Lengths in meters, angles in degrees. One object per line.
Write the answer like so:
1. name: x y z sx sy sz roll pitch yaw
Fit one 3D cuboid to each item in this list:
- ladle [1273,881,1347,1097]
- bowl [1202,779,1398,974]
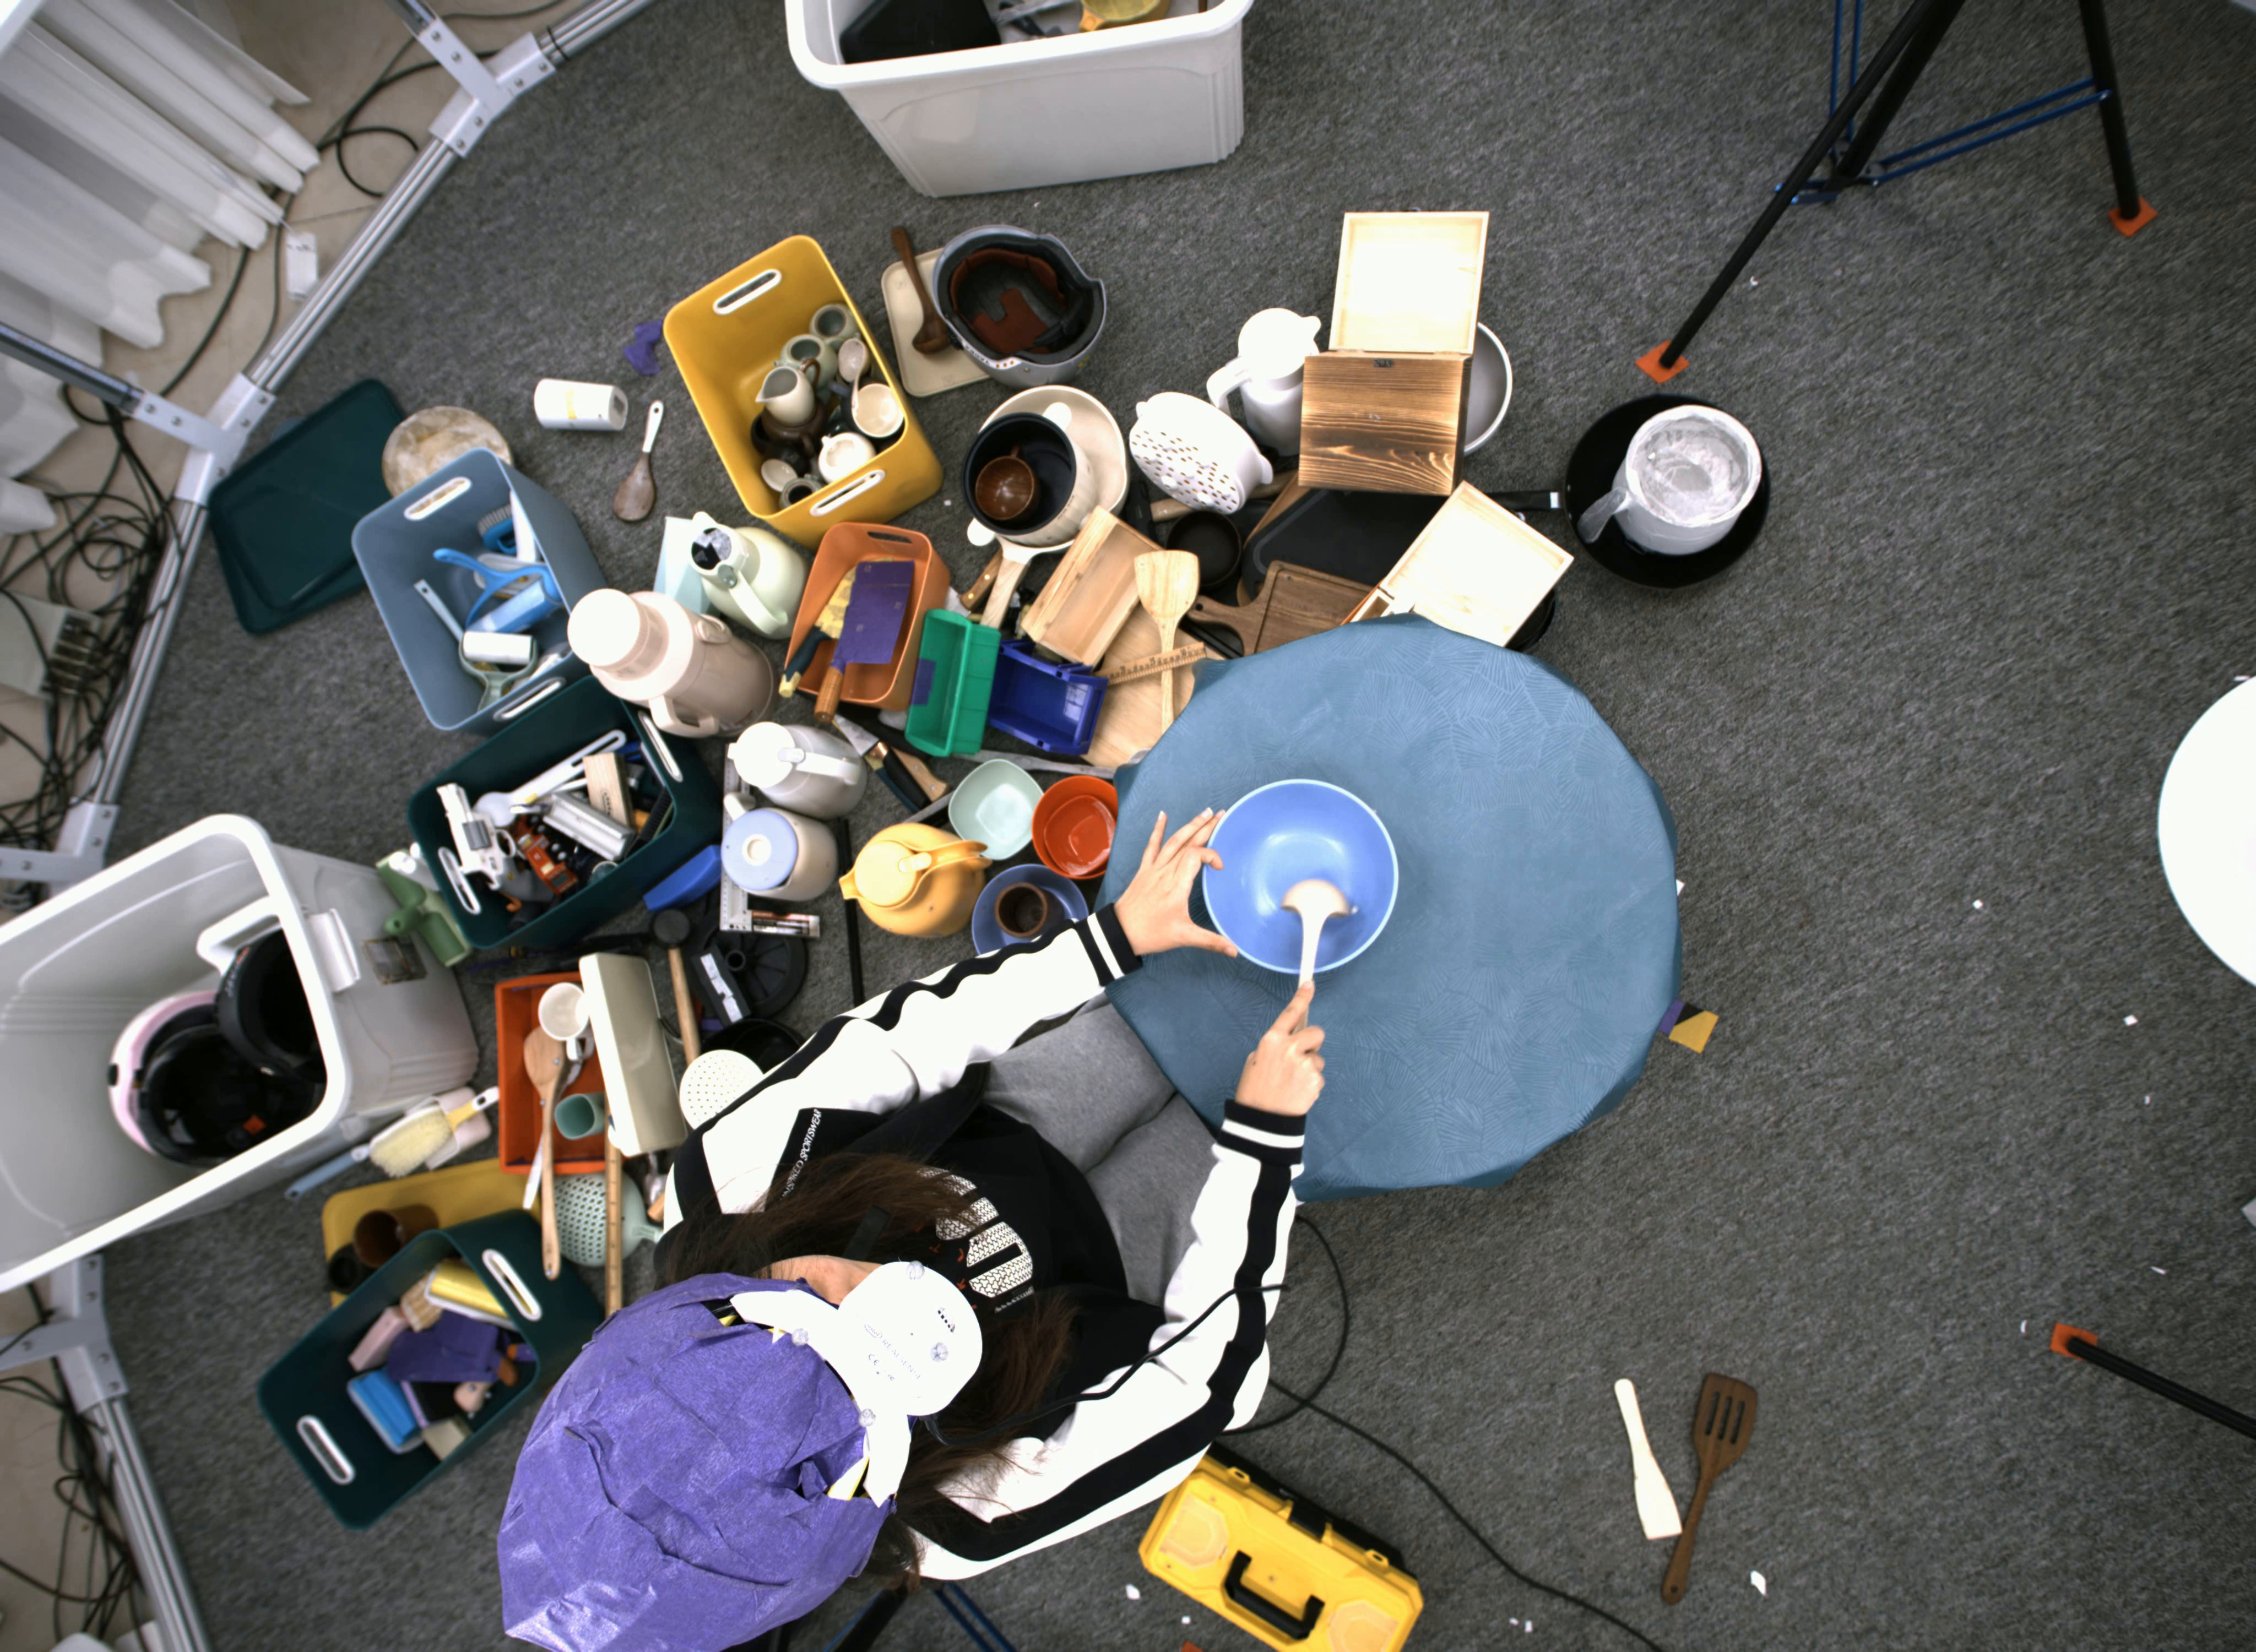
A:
1. ladle: 0.169 0.167 1.373 0.072 0.074 0.248 10 58 8
2. bowl: 0.179 0.053 1.433 0.197 0.095 0.196 -1 87 9
